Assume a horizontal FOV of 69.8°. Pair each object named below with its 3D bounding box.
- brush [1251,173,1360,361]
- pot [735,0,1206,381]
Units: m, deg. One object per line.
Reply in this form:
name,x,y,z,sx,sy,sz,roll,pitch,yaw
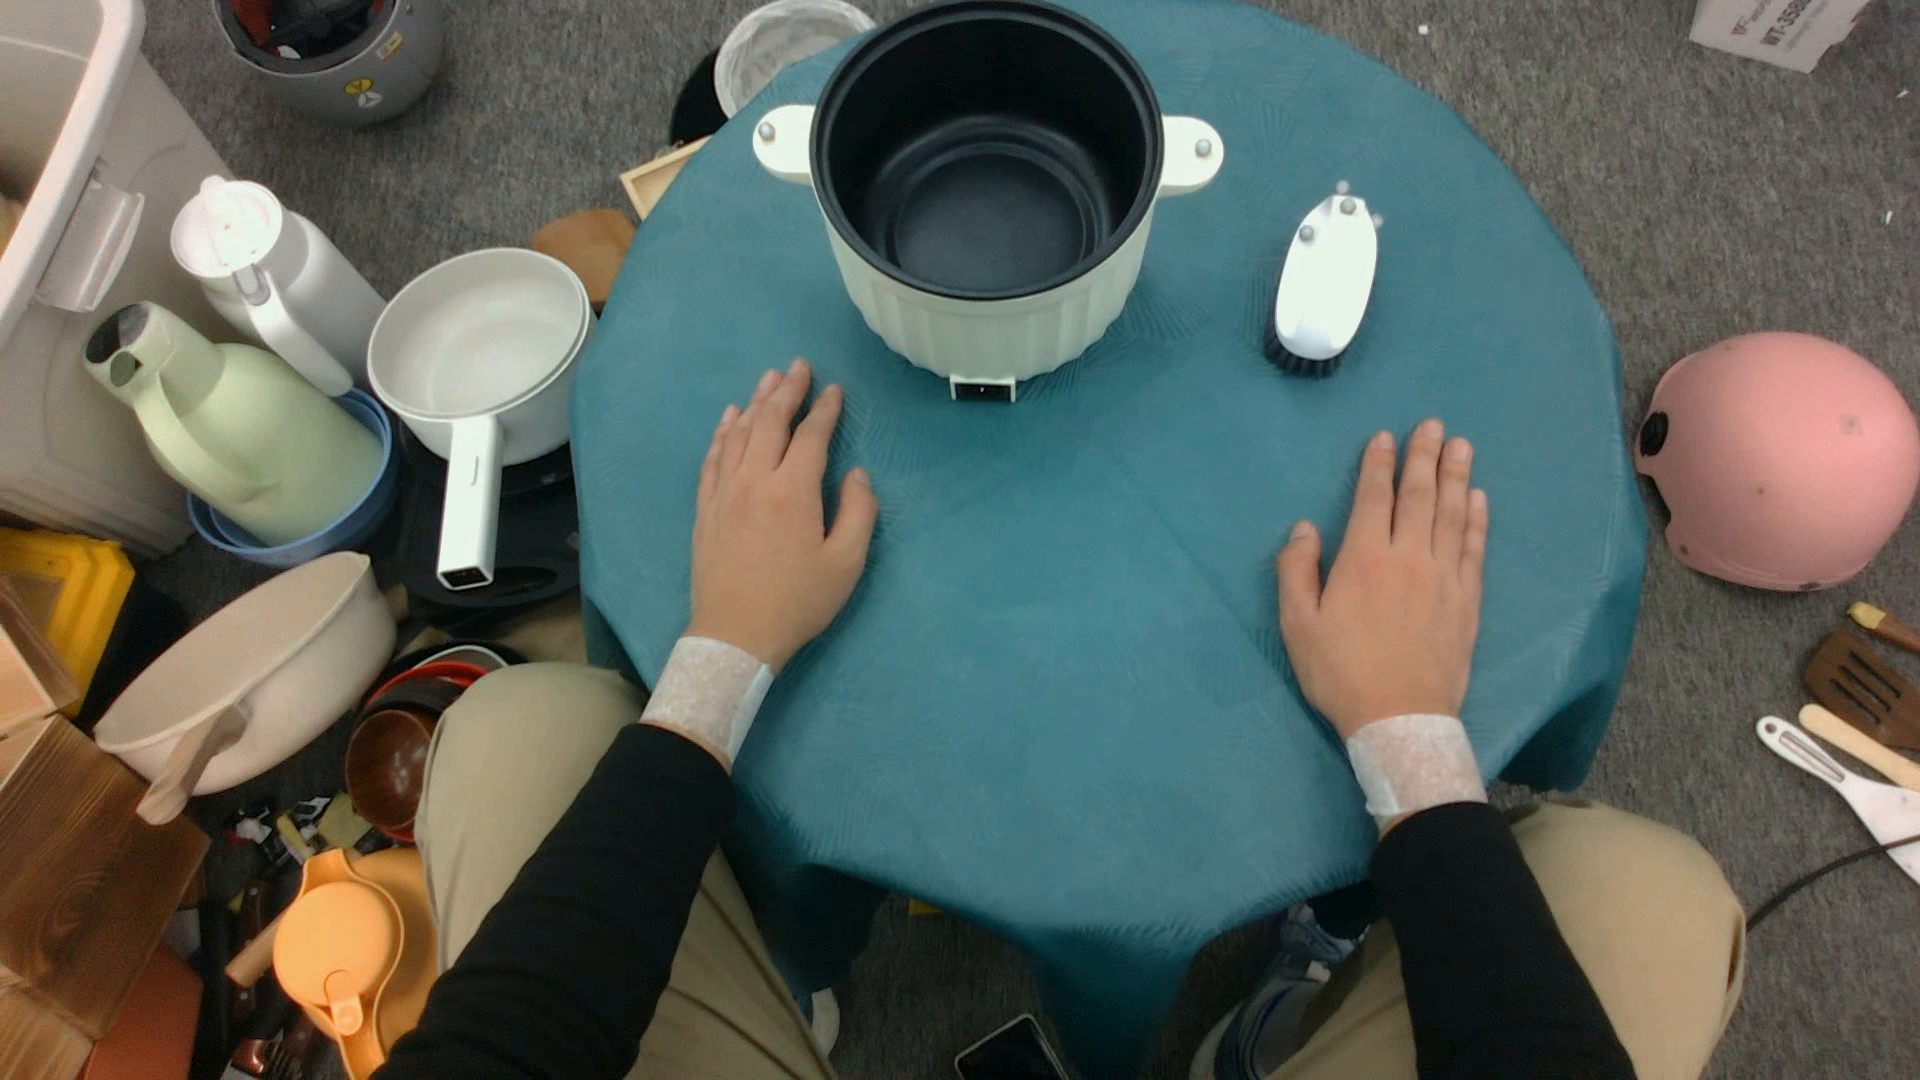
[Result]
brush,0.199,-0.161,0.778,0.050,0.072,0.099,15,73,7
pot,0.005,-0.198,0.761,0.240,0.142,0.191,2,74,1
